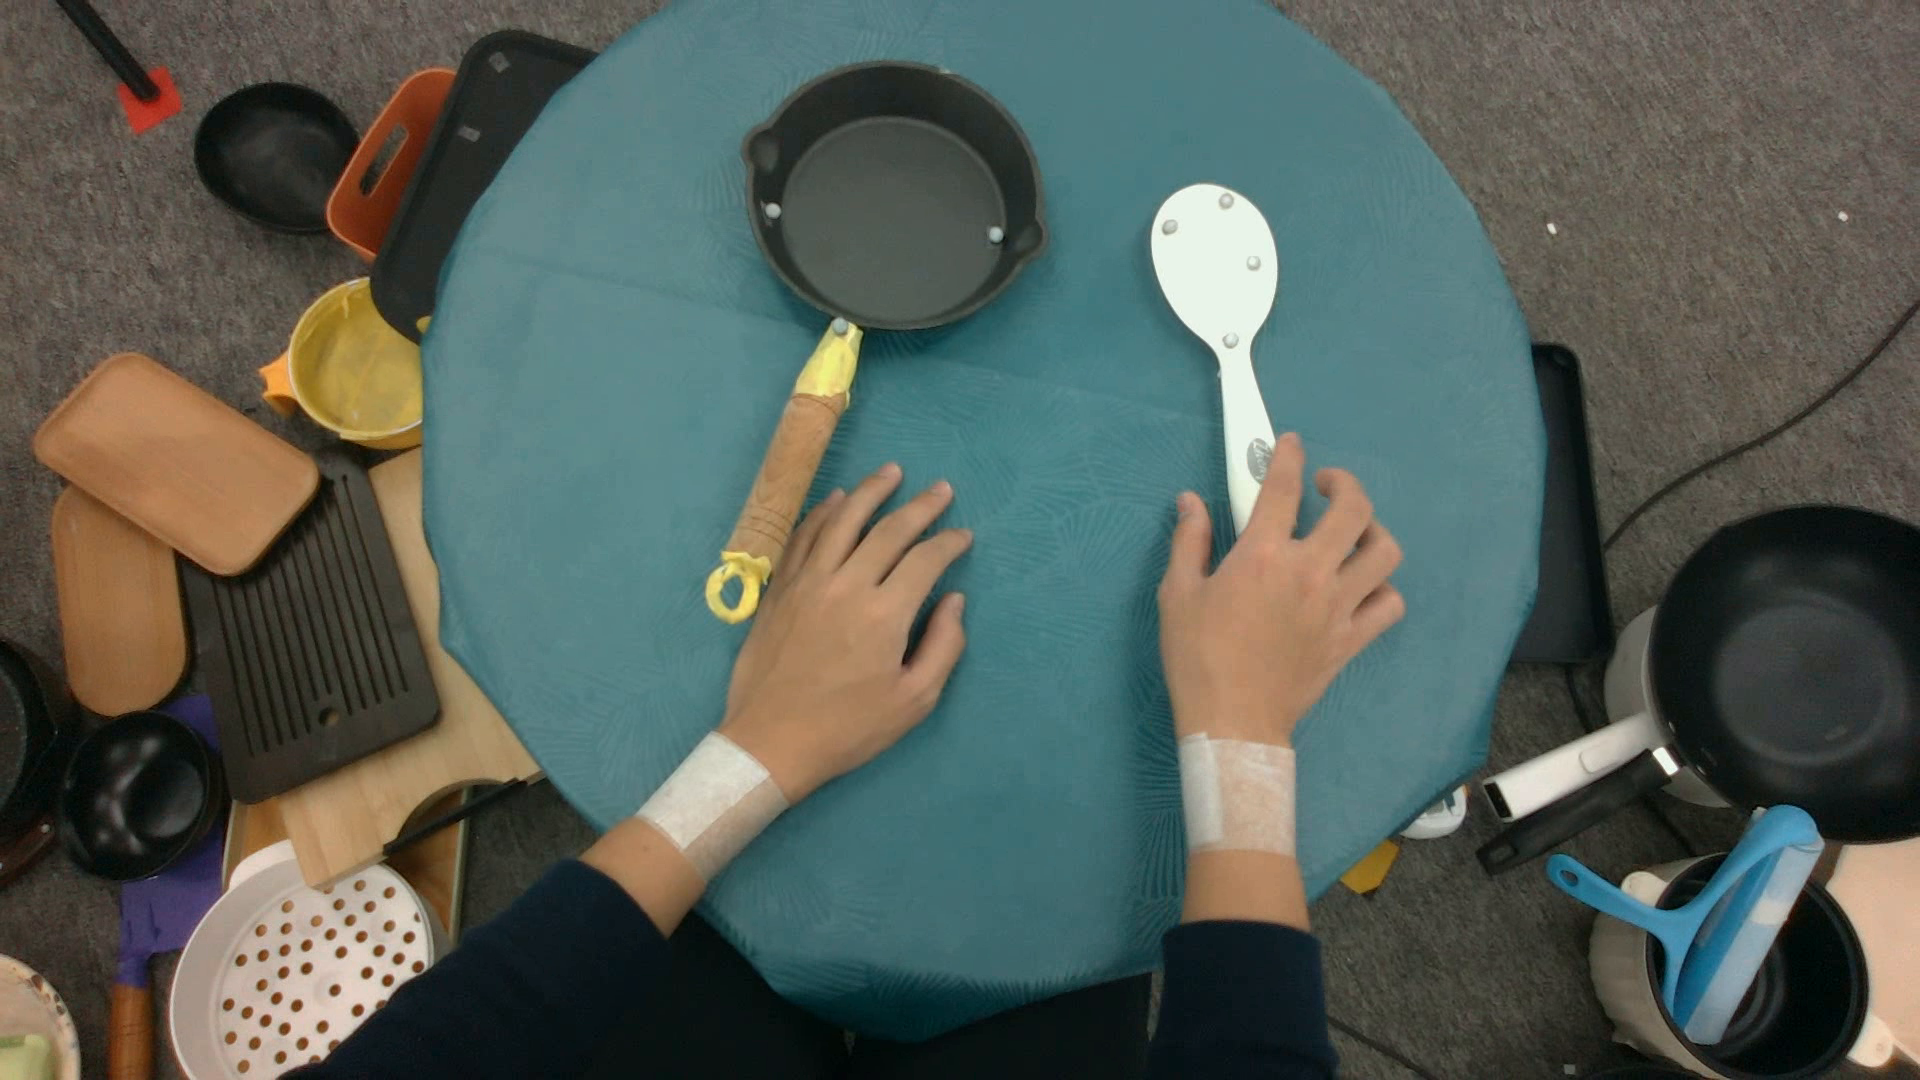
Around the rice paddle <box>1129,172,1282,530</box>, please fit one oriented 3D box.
[{"bbox_3d":[0.136,-0.108,0.741,0.069,0.029,0.205,-7,76,-9],"label":"rice paddle"}]

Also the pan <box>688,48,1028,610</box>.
[{"bbox_3d":[-0.072,-0.113,0.710,0.169,0.049,0.325,20,72,0],"label":"pan"}]
